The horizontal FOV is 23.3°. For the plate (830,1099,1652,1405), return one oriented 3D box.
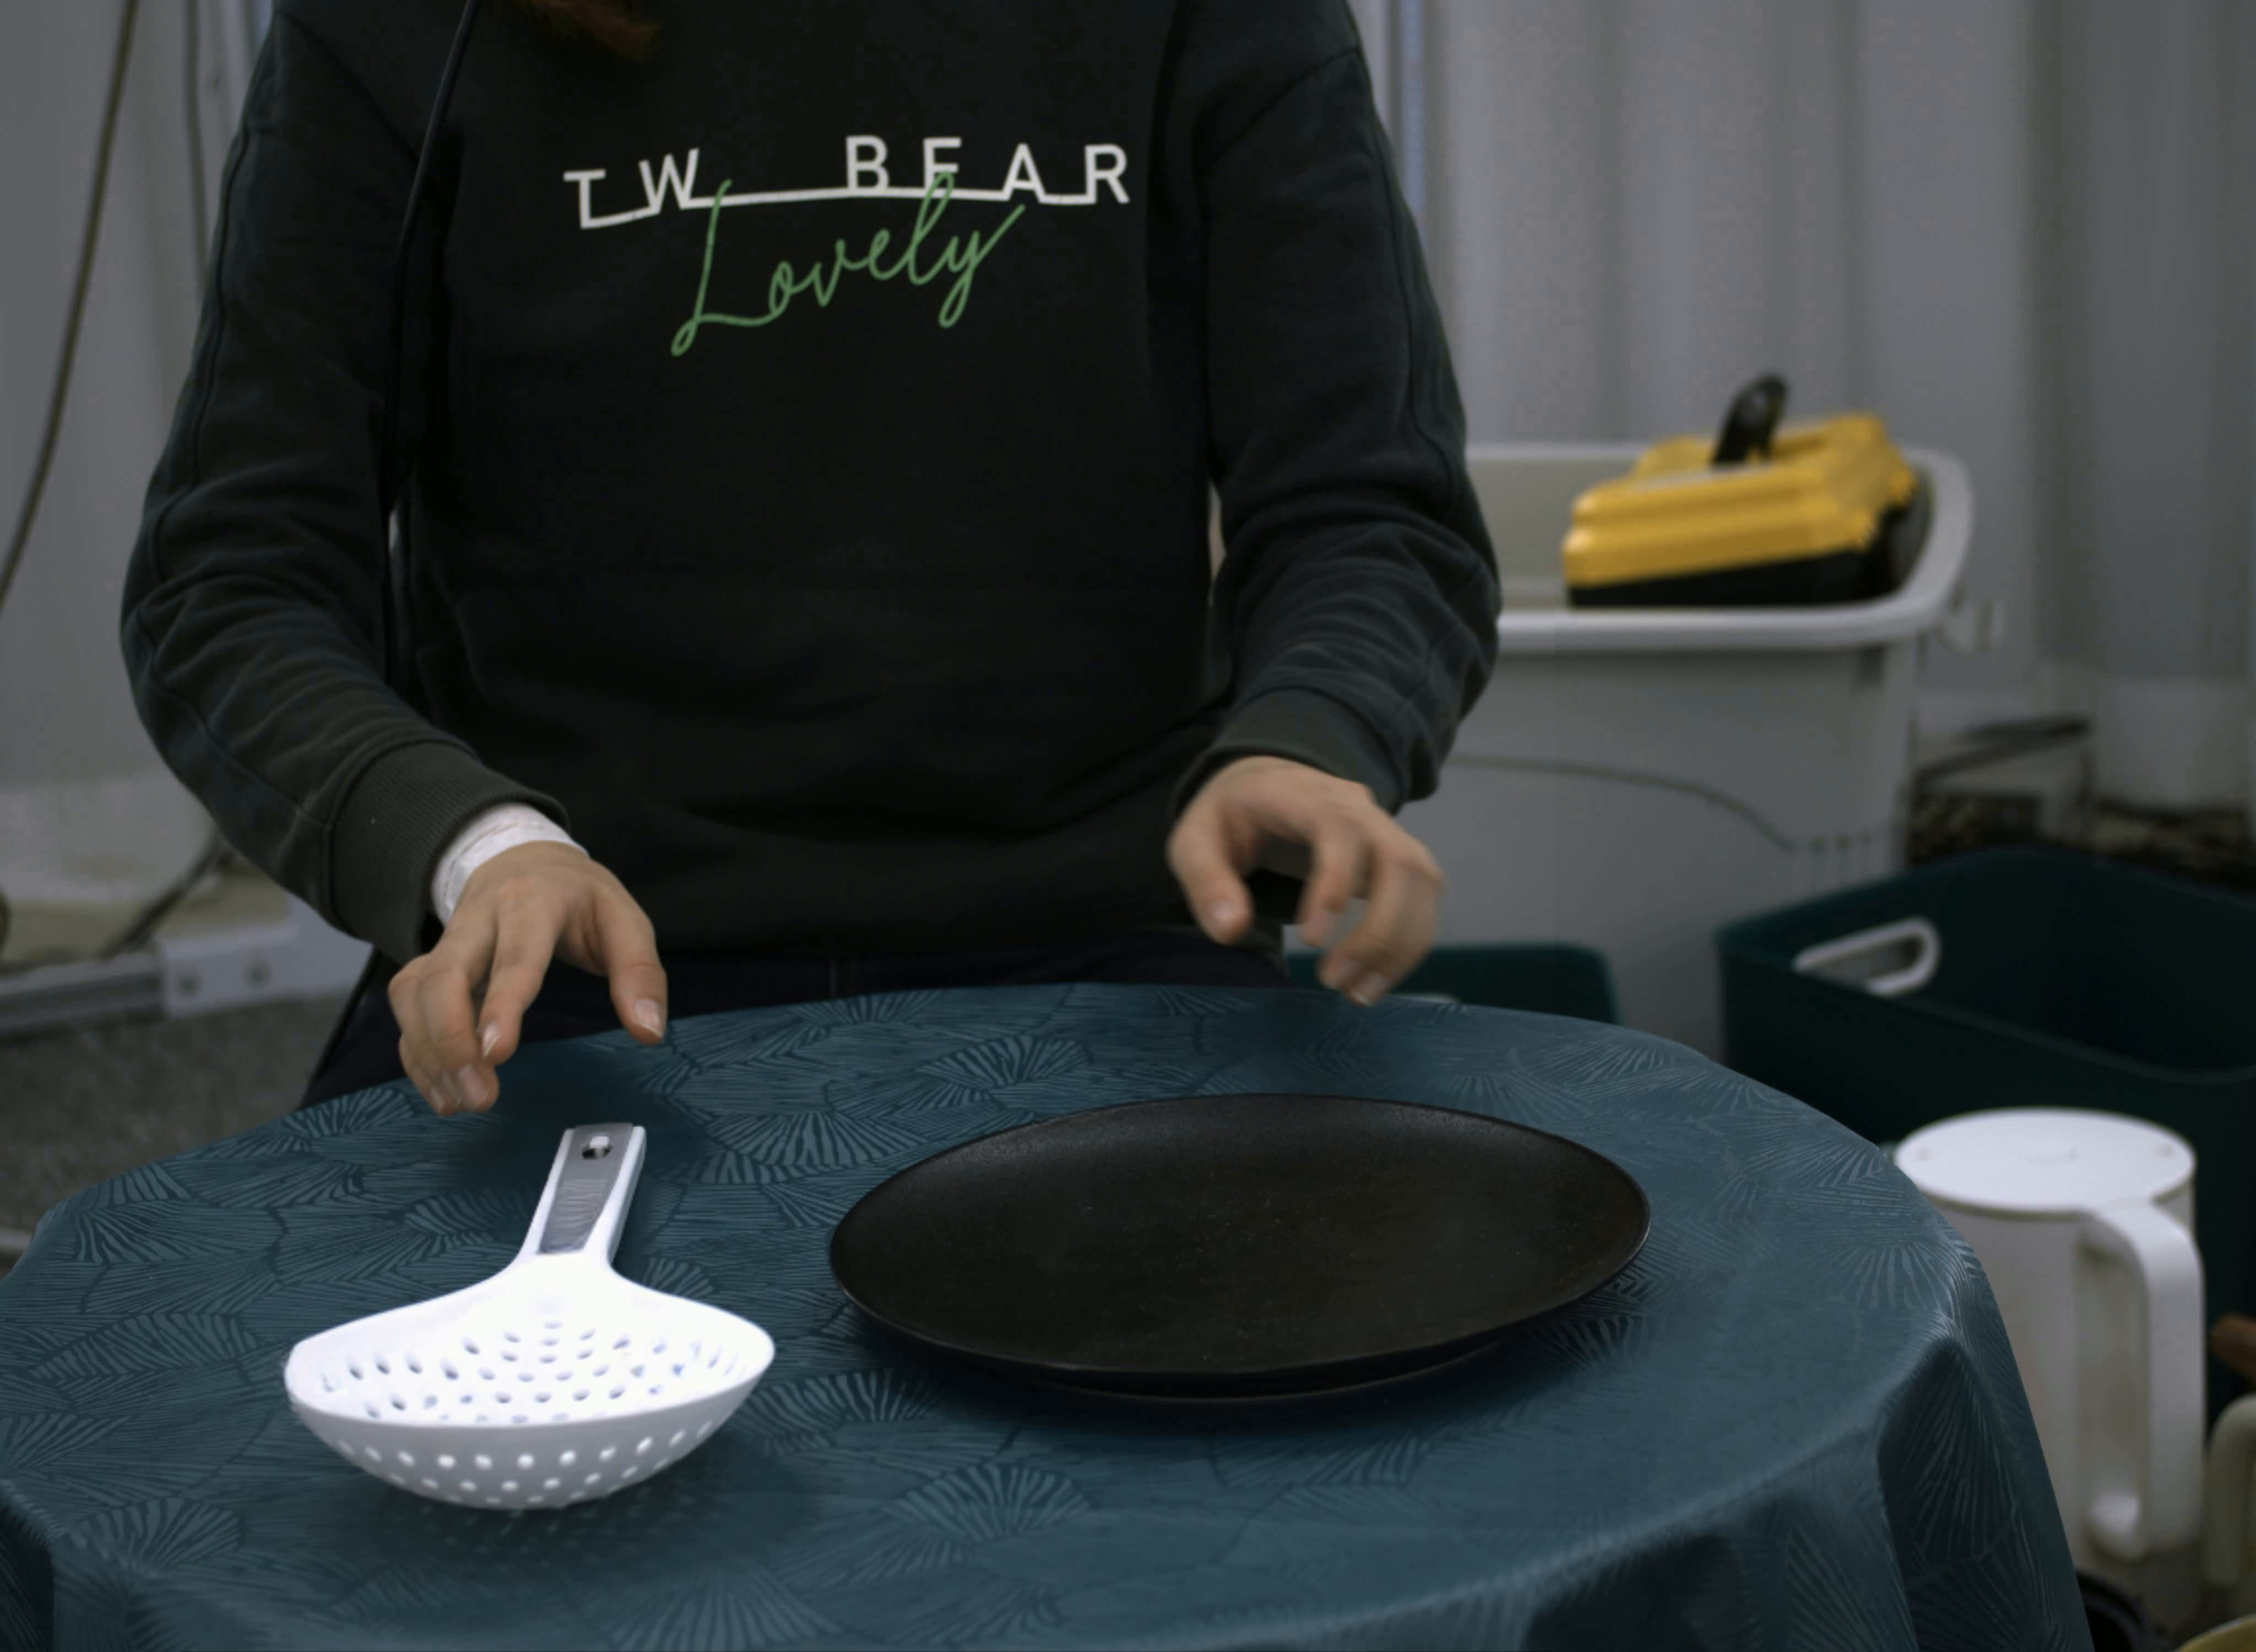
[{"bbox_3d":[0.034,0.127,1.616,0.243,0.023,0.246,-3,15,0],"label":"plate"}]

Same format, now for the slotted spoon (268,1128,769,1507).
[{"bbox_3d":[-0.166,0.133,1.589,0.135,0.045,0.352,0,14,0],"label":"slotted spoon"}]
